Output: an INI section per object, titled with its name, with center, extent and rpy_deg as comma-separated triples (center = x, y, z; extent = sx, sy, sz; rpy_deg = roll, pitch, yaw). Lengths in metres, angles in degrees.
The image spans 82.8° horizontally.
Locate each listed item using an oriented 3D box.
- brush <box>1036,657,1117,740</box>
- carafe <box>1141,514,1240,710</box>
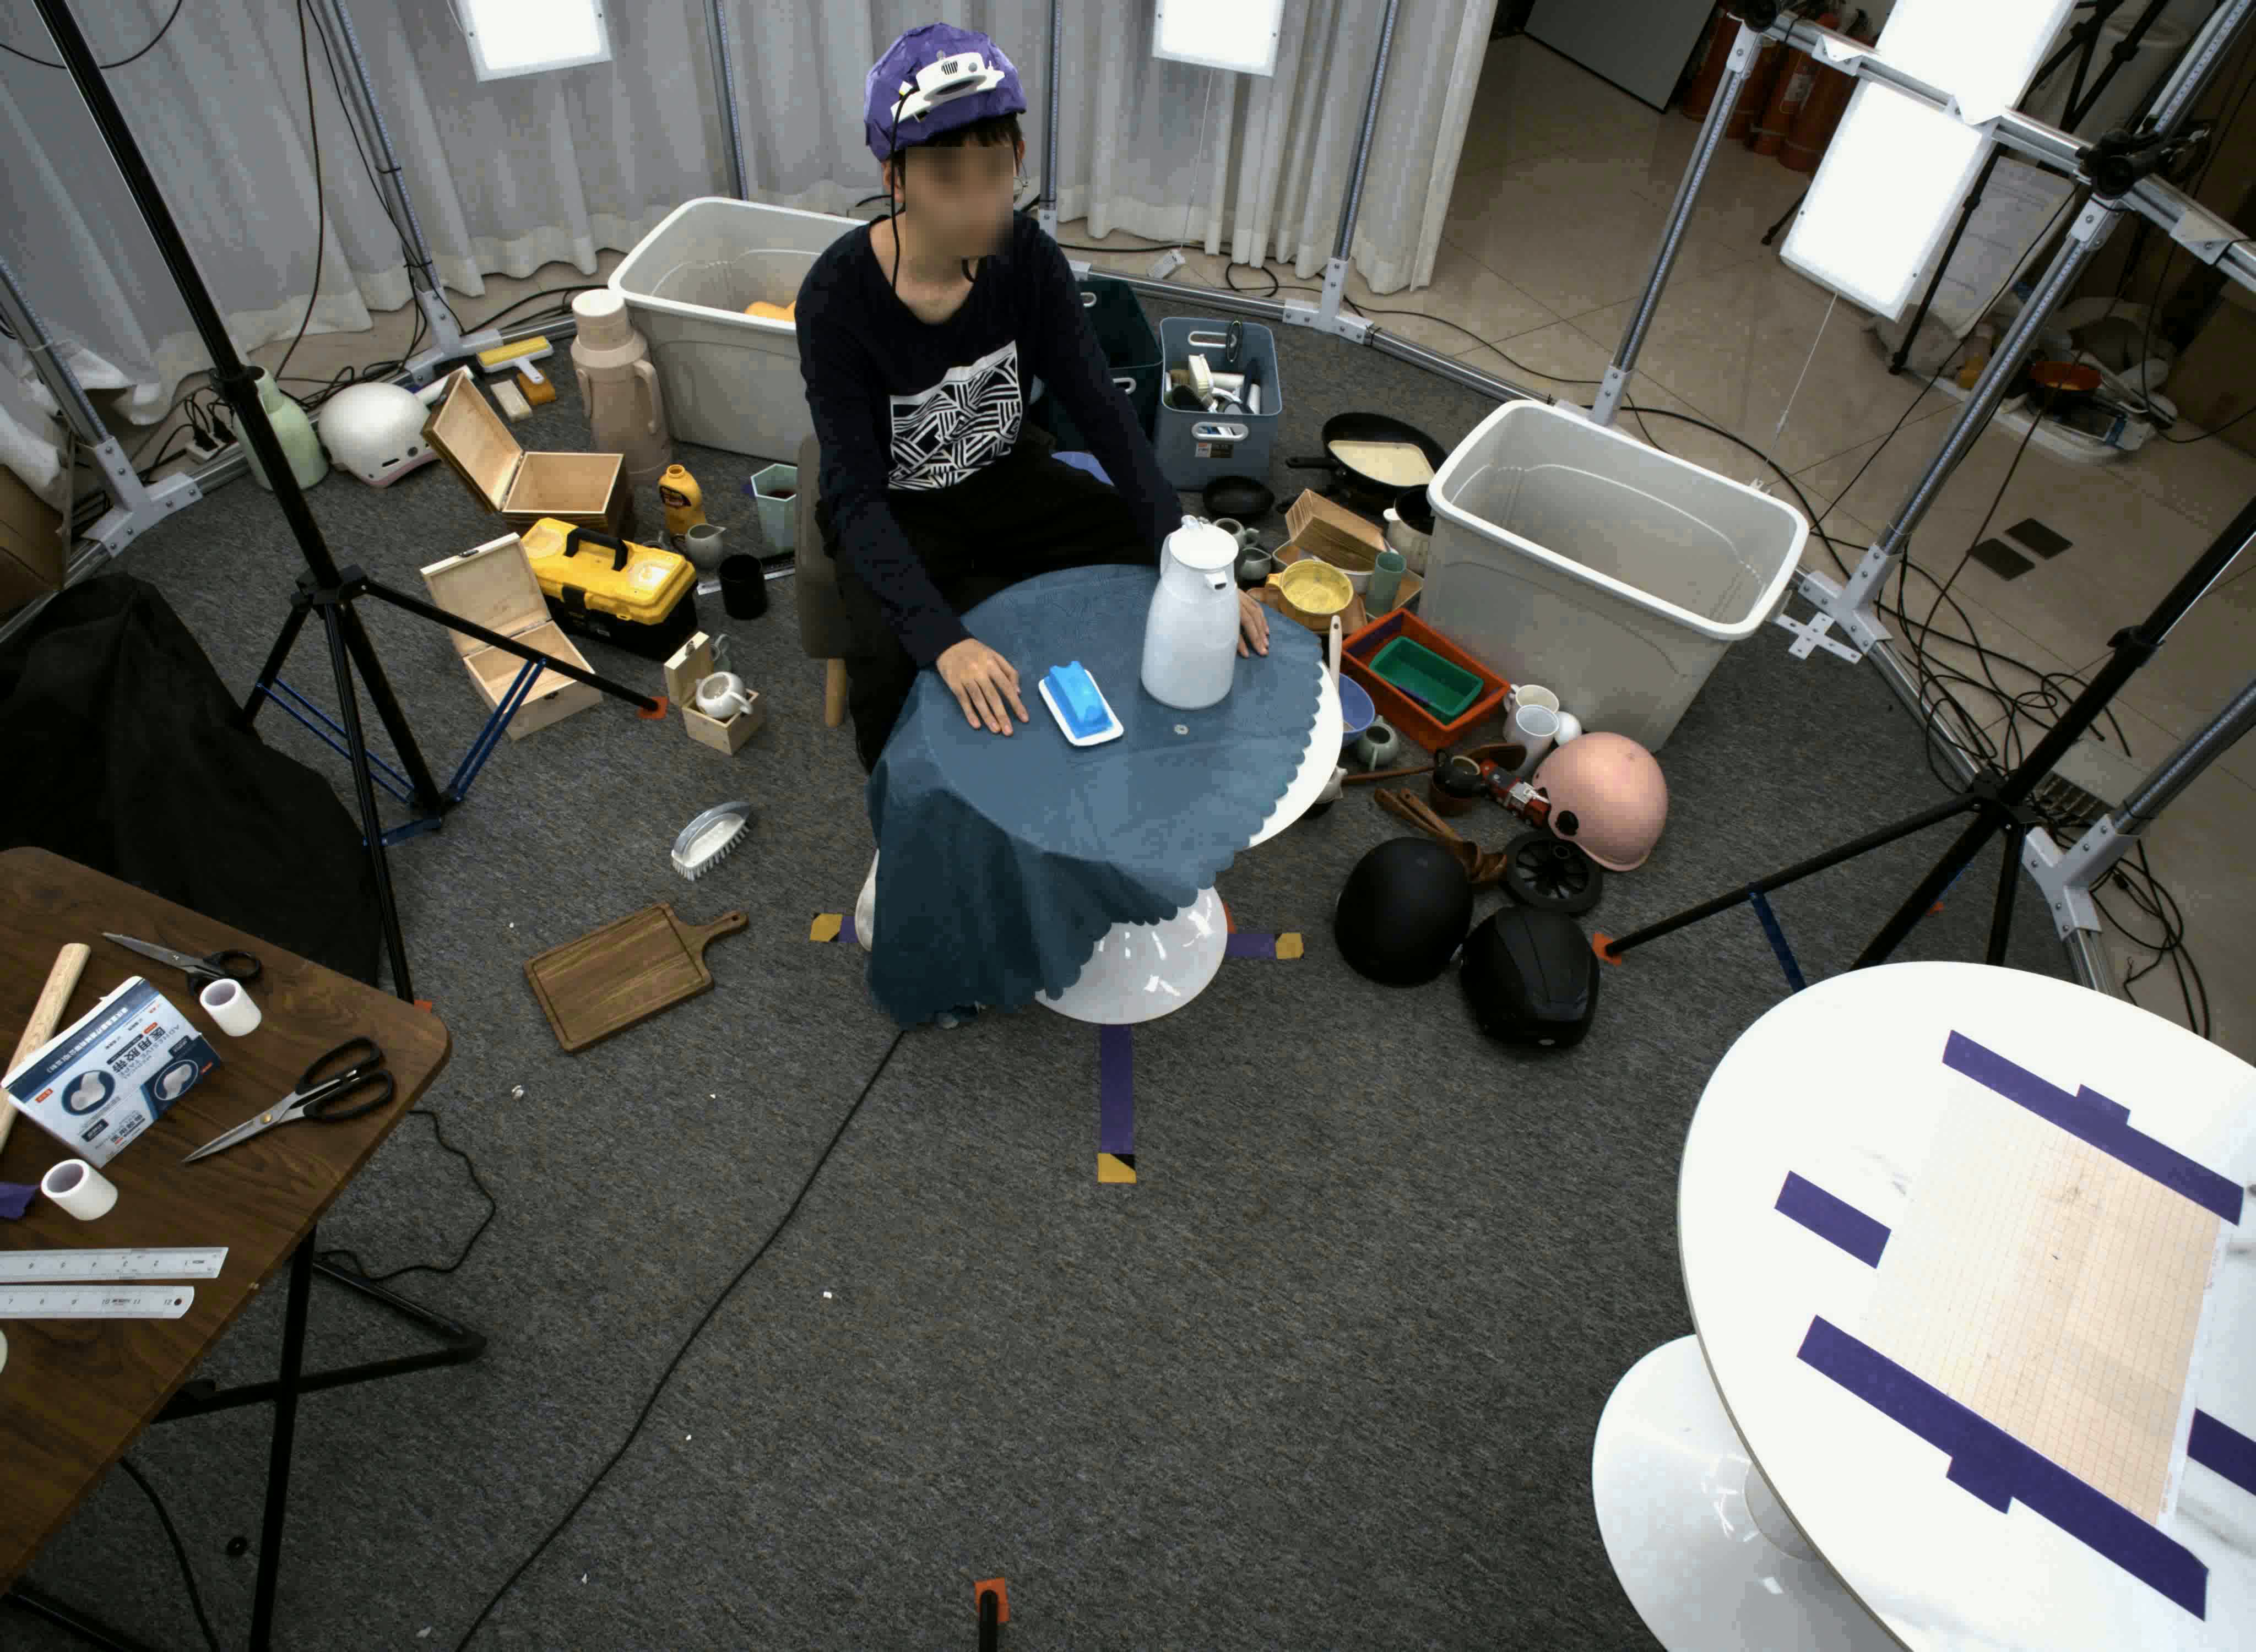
[brush]
center = -0.069, -0.184, 1.784
extent = 0.084, 0.054, 0.147
rpy_deg = -12, 52, -18
[carafe]
center = 0.083, -0.307, 1.780
extent = 0.132, 0.242, 0.171
rpy_deg = -16, 50, -17
